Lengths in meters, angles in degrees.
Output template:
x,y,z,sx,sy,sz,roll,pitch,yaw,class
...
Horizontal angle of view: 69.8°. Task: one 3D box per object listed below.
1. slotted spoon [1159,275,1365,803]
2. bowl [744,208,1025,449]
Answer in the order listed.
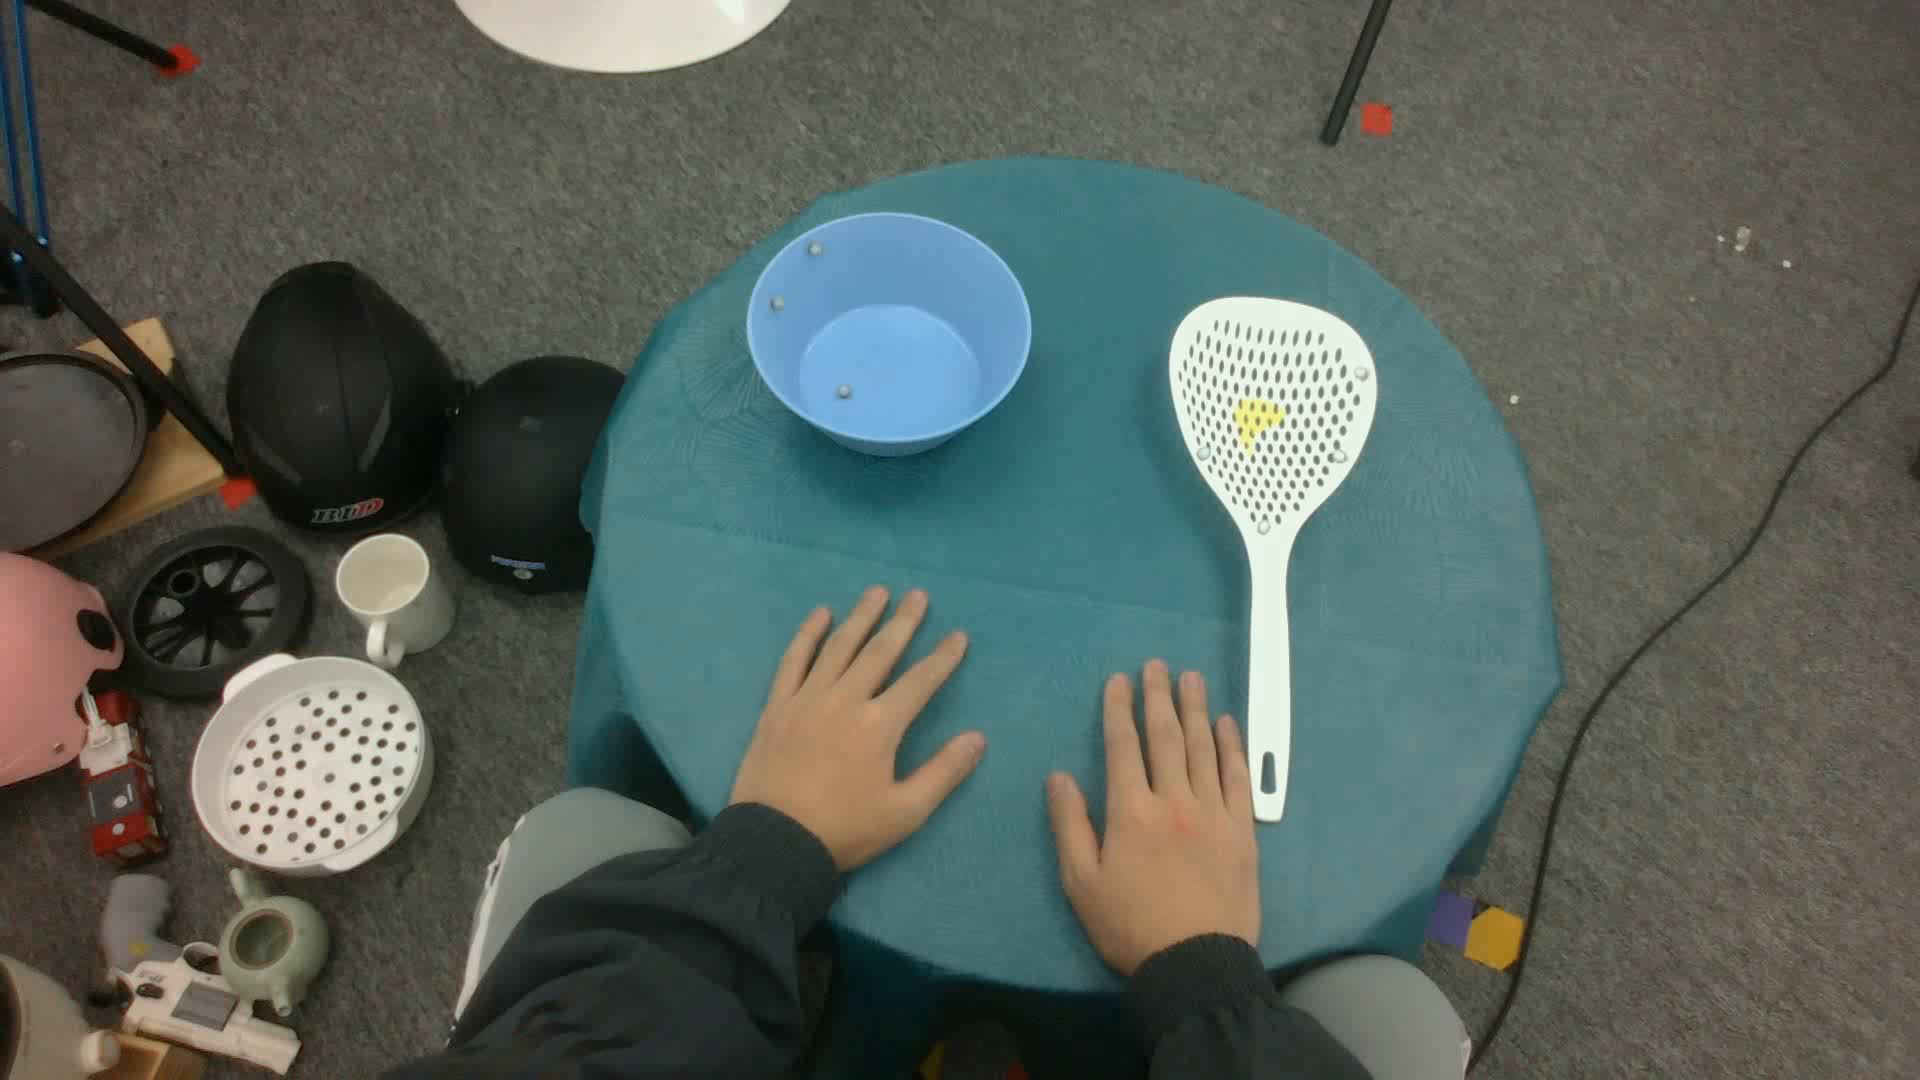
x,y,z,sx,sy,sz,roll,pitch,yaw,class
0.187,-0.013,0.857,0.137,0.050,0.349,6,62,-4,slotted spoon
-0.048,-0.125,0.888,0.176,0.070,0.177,1,62,-2,bowl
